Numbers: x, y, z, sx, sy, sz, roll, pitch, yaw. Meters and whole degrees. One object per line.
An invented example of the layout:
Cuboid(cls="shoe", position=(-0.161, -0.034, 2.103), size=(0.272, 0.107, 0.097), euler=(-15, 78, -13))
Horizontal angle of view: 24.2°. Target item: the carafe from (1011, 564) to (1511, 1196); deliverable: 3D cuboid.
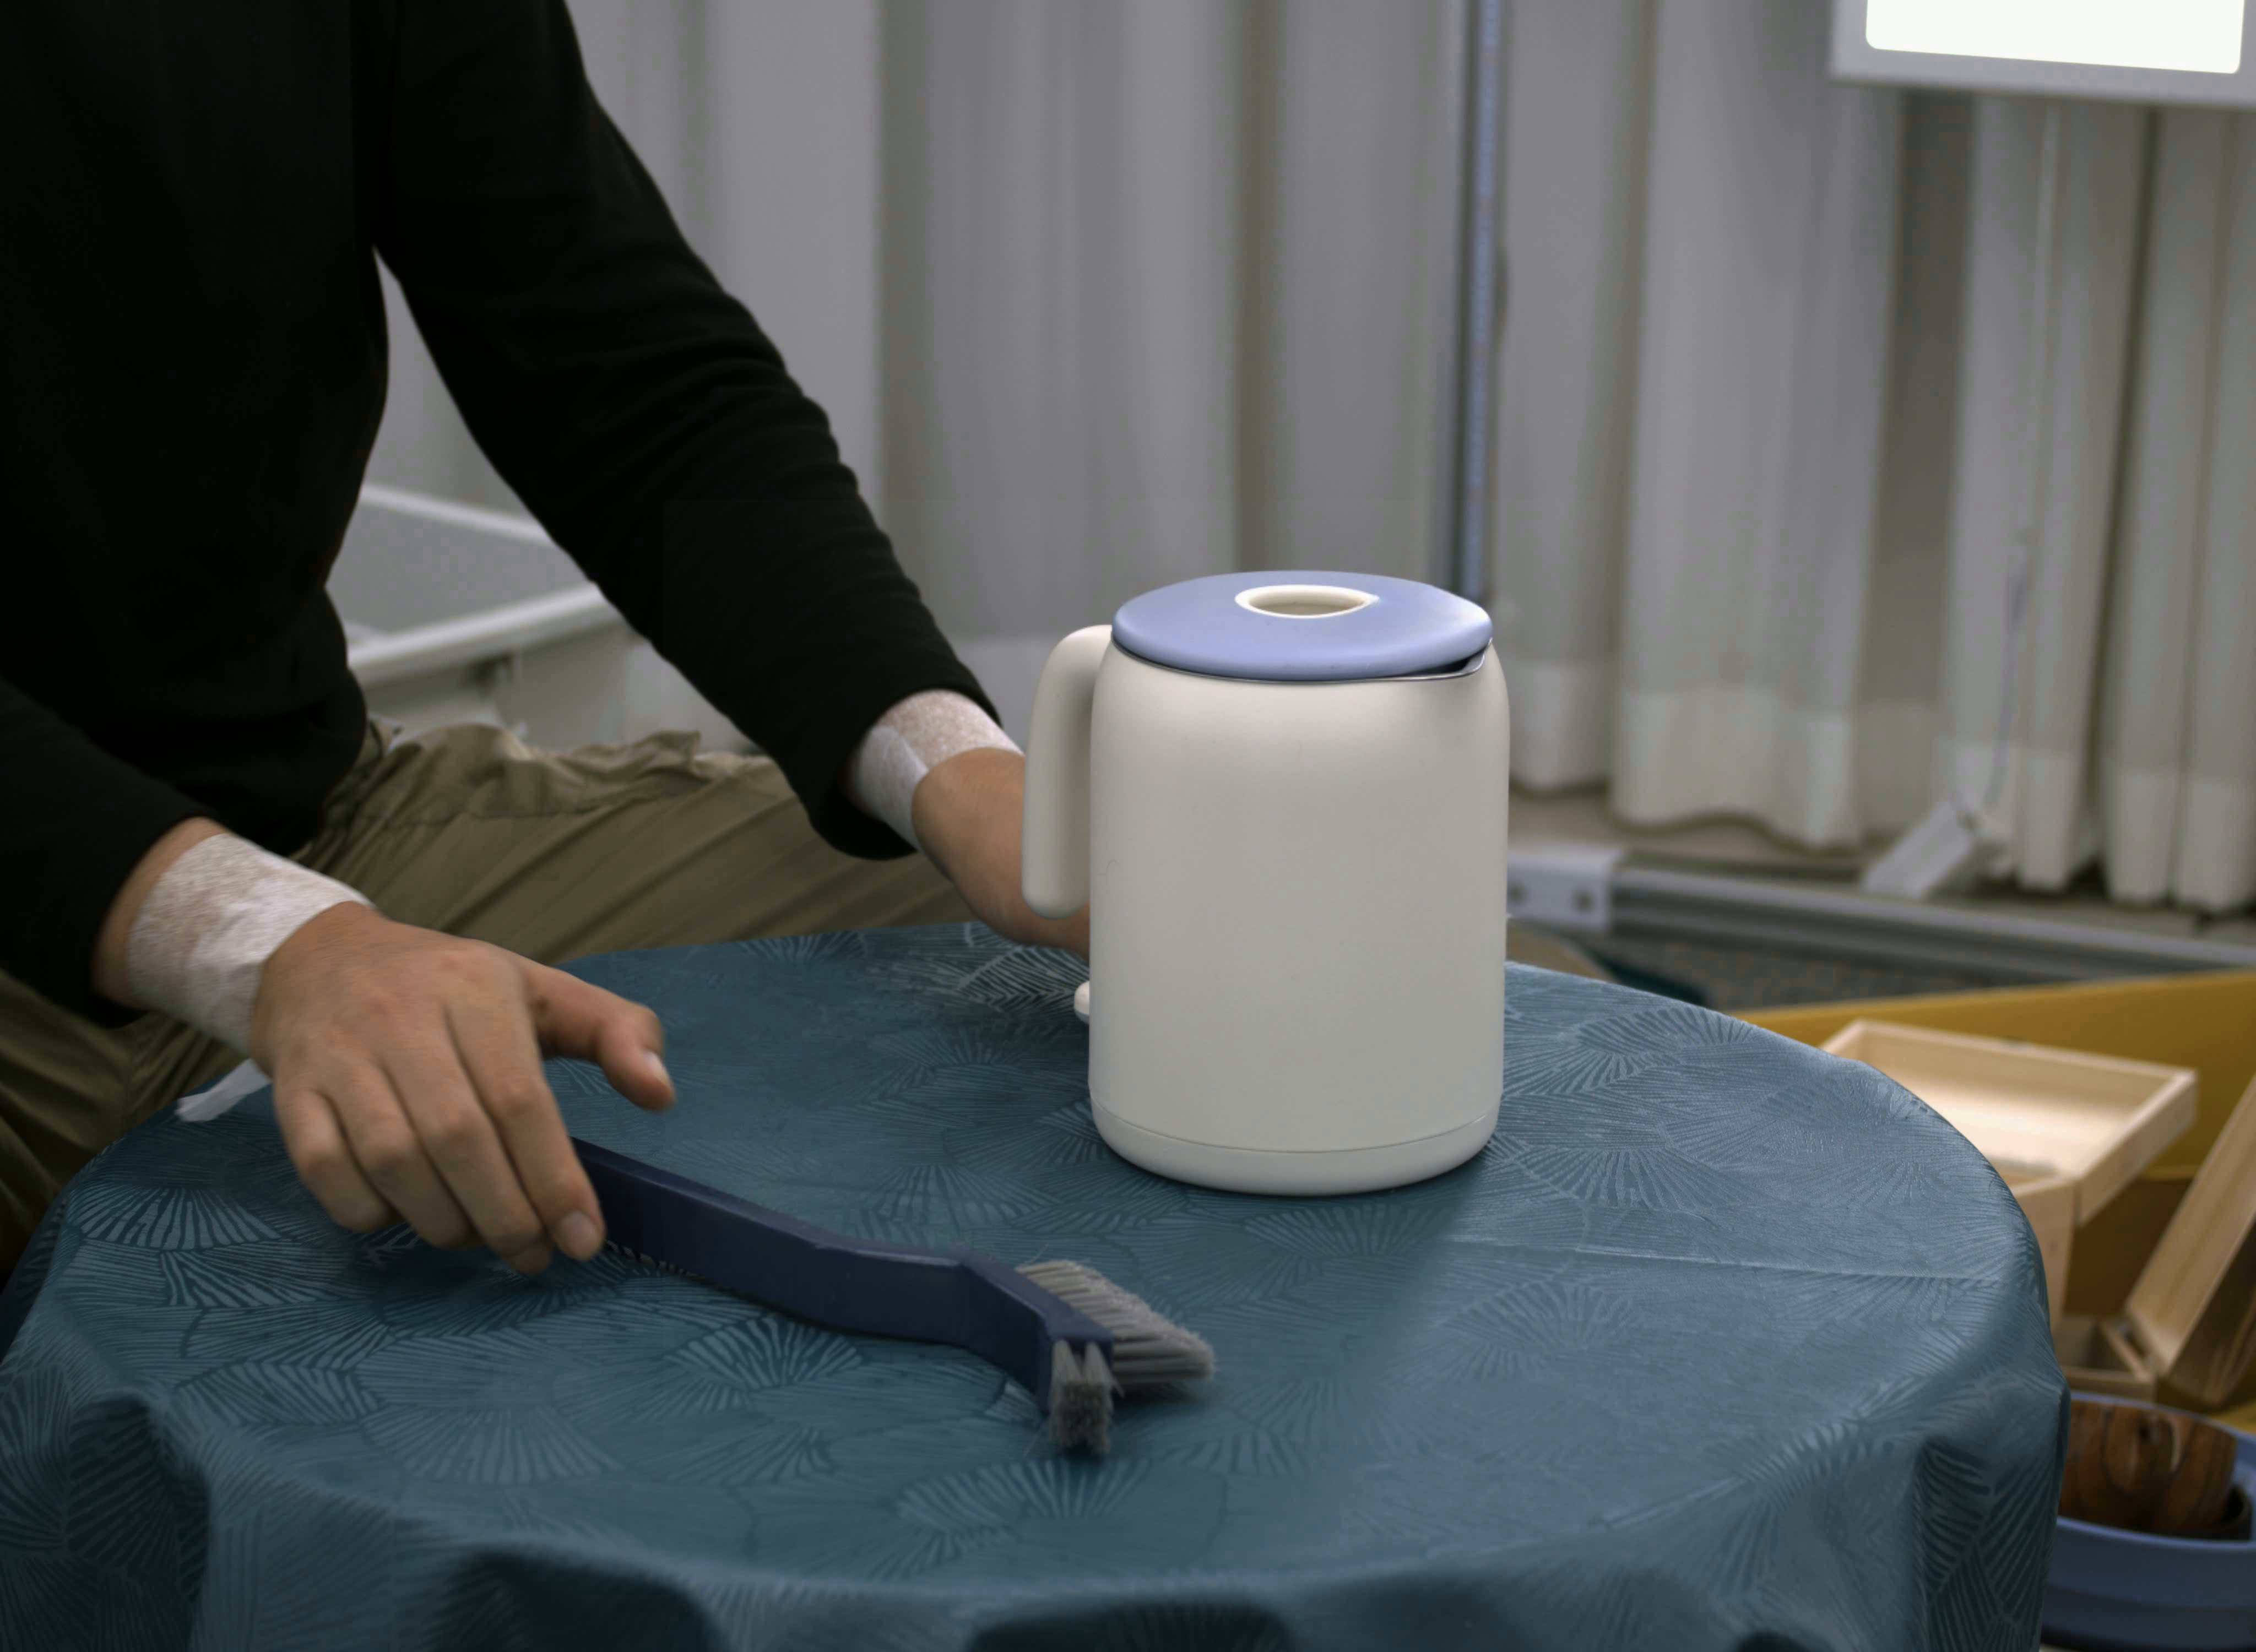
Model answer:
Cuboid(cls="carafe", position=(0.036, 0.011, 1.663), size=(0.188, 0.184, 0.133), euler=(13, 20, 41))

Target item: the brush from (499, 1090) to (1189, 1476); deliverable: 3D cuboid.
Cuboid(cls="brush", position=(-0.100, 0.127, 1.509), size=(0.270, 0.034, 0.096), euler=(12, 22, 34))
